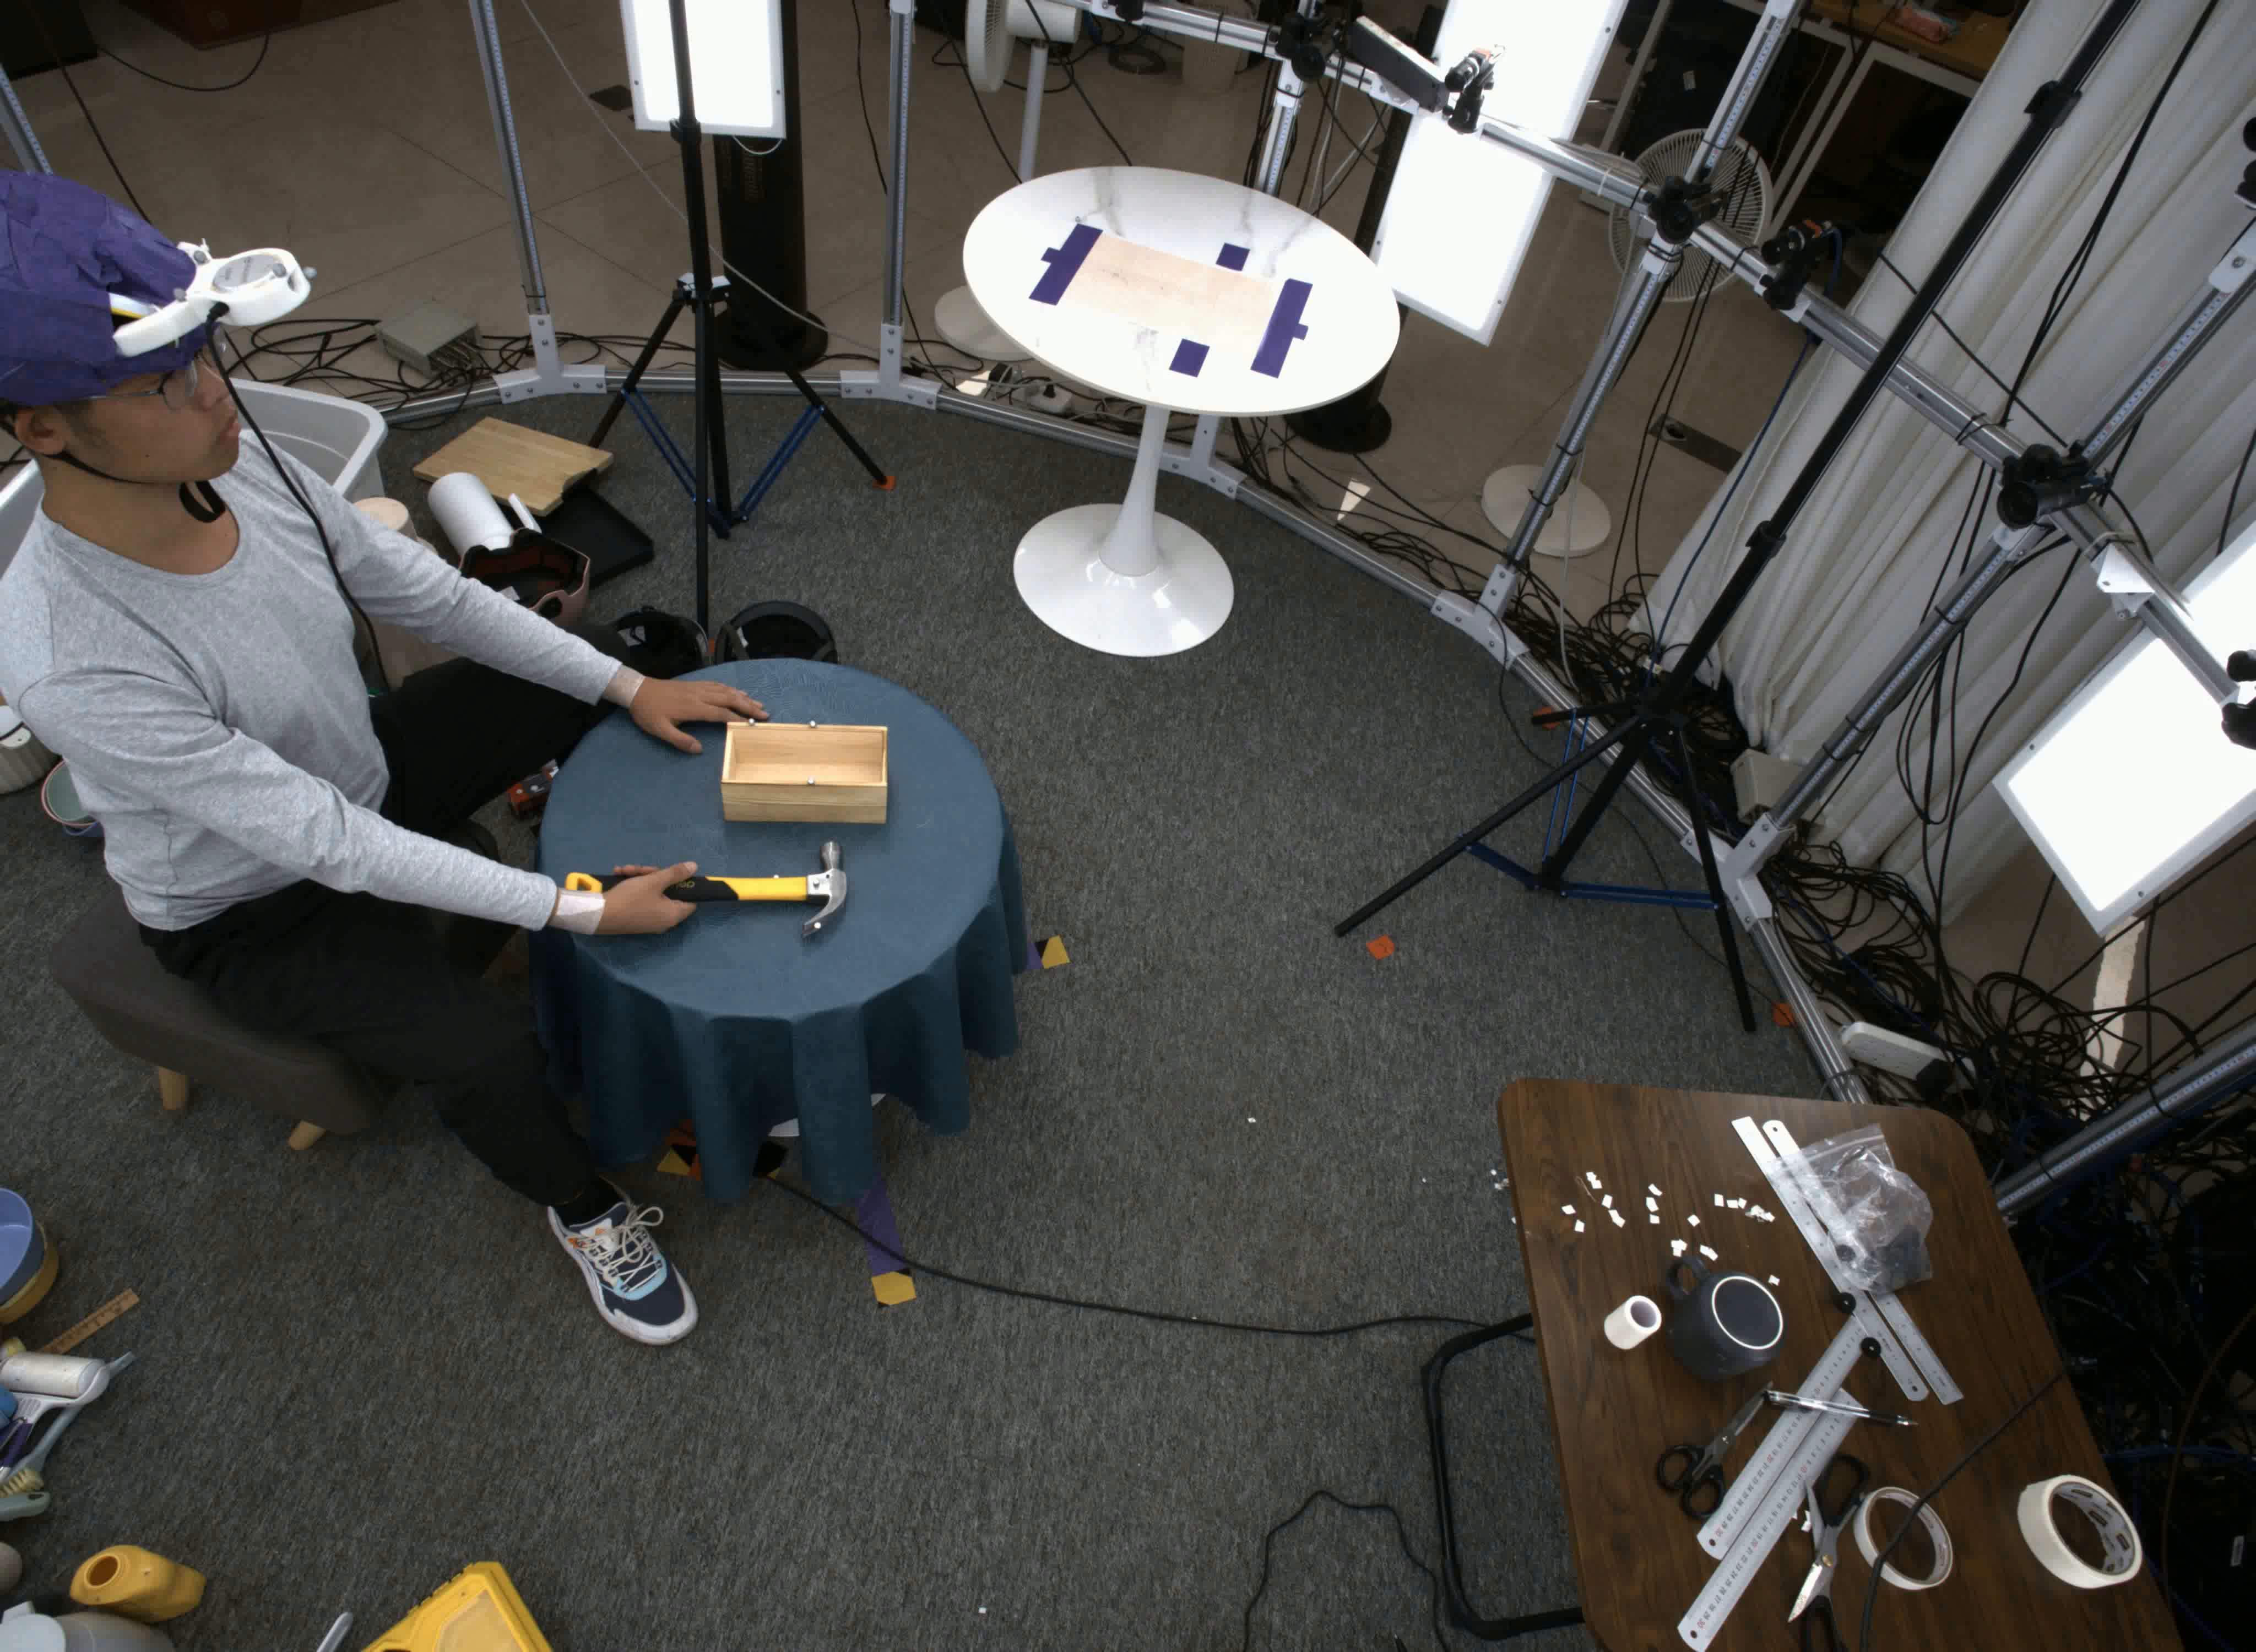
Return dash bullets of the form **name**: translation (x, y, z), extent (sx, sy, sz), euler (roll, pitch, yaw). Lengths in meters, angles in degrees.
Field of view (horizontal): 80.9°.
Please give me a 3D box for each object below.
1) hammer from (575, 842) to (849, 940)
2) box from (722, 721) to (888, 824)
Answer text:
- **hammer**: translation (-0.518, 0.078, 1.605), extent (0.341, 0.032, 0.128), euler (1, 56, -21)
- **box**: translation (-0.427, -0.071, 1.727), extent (0.211, 0.082, 0.105), euler (1, 54, -13)
